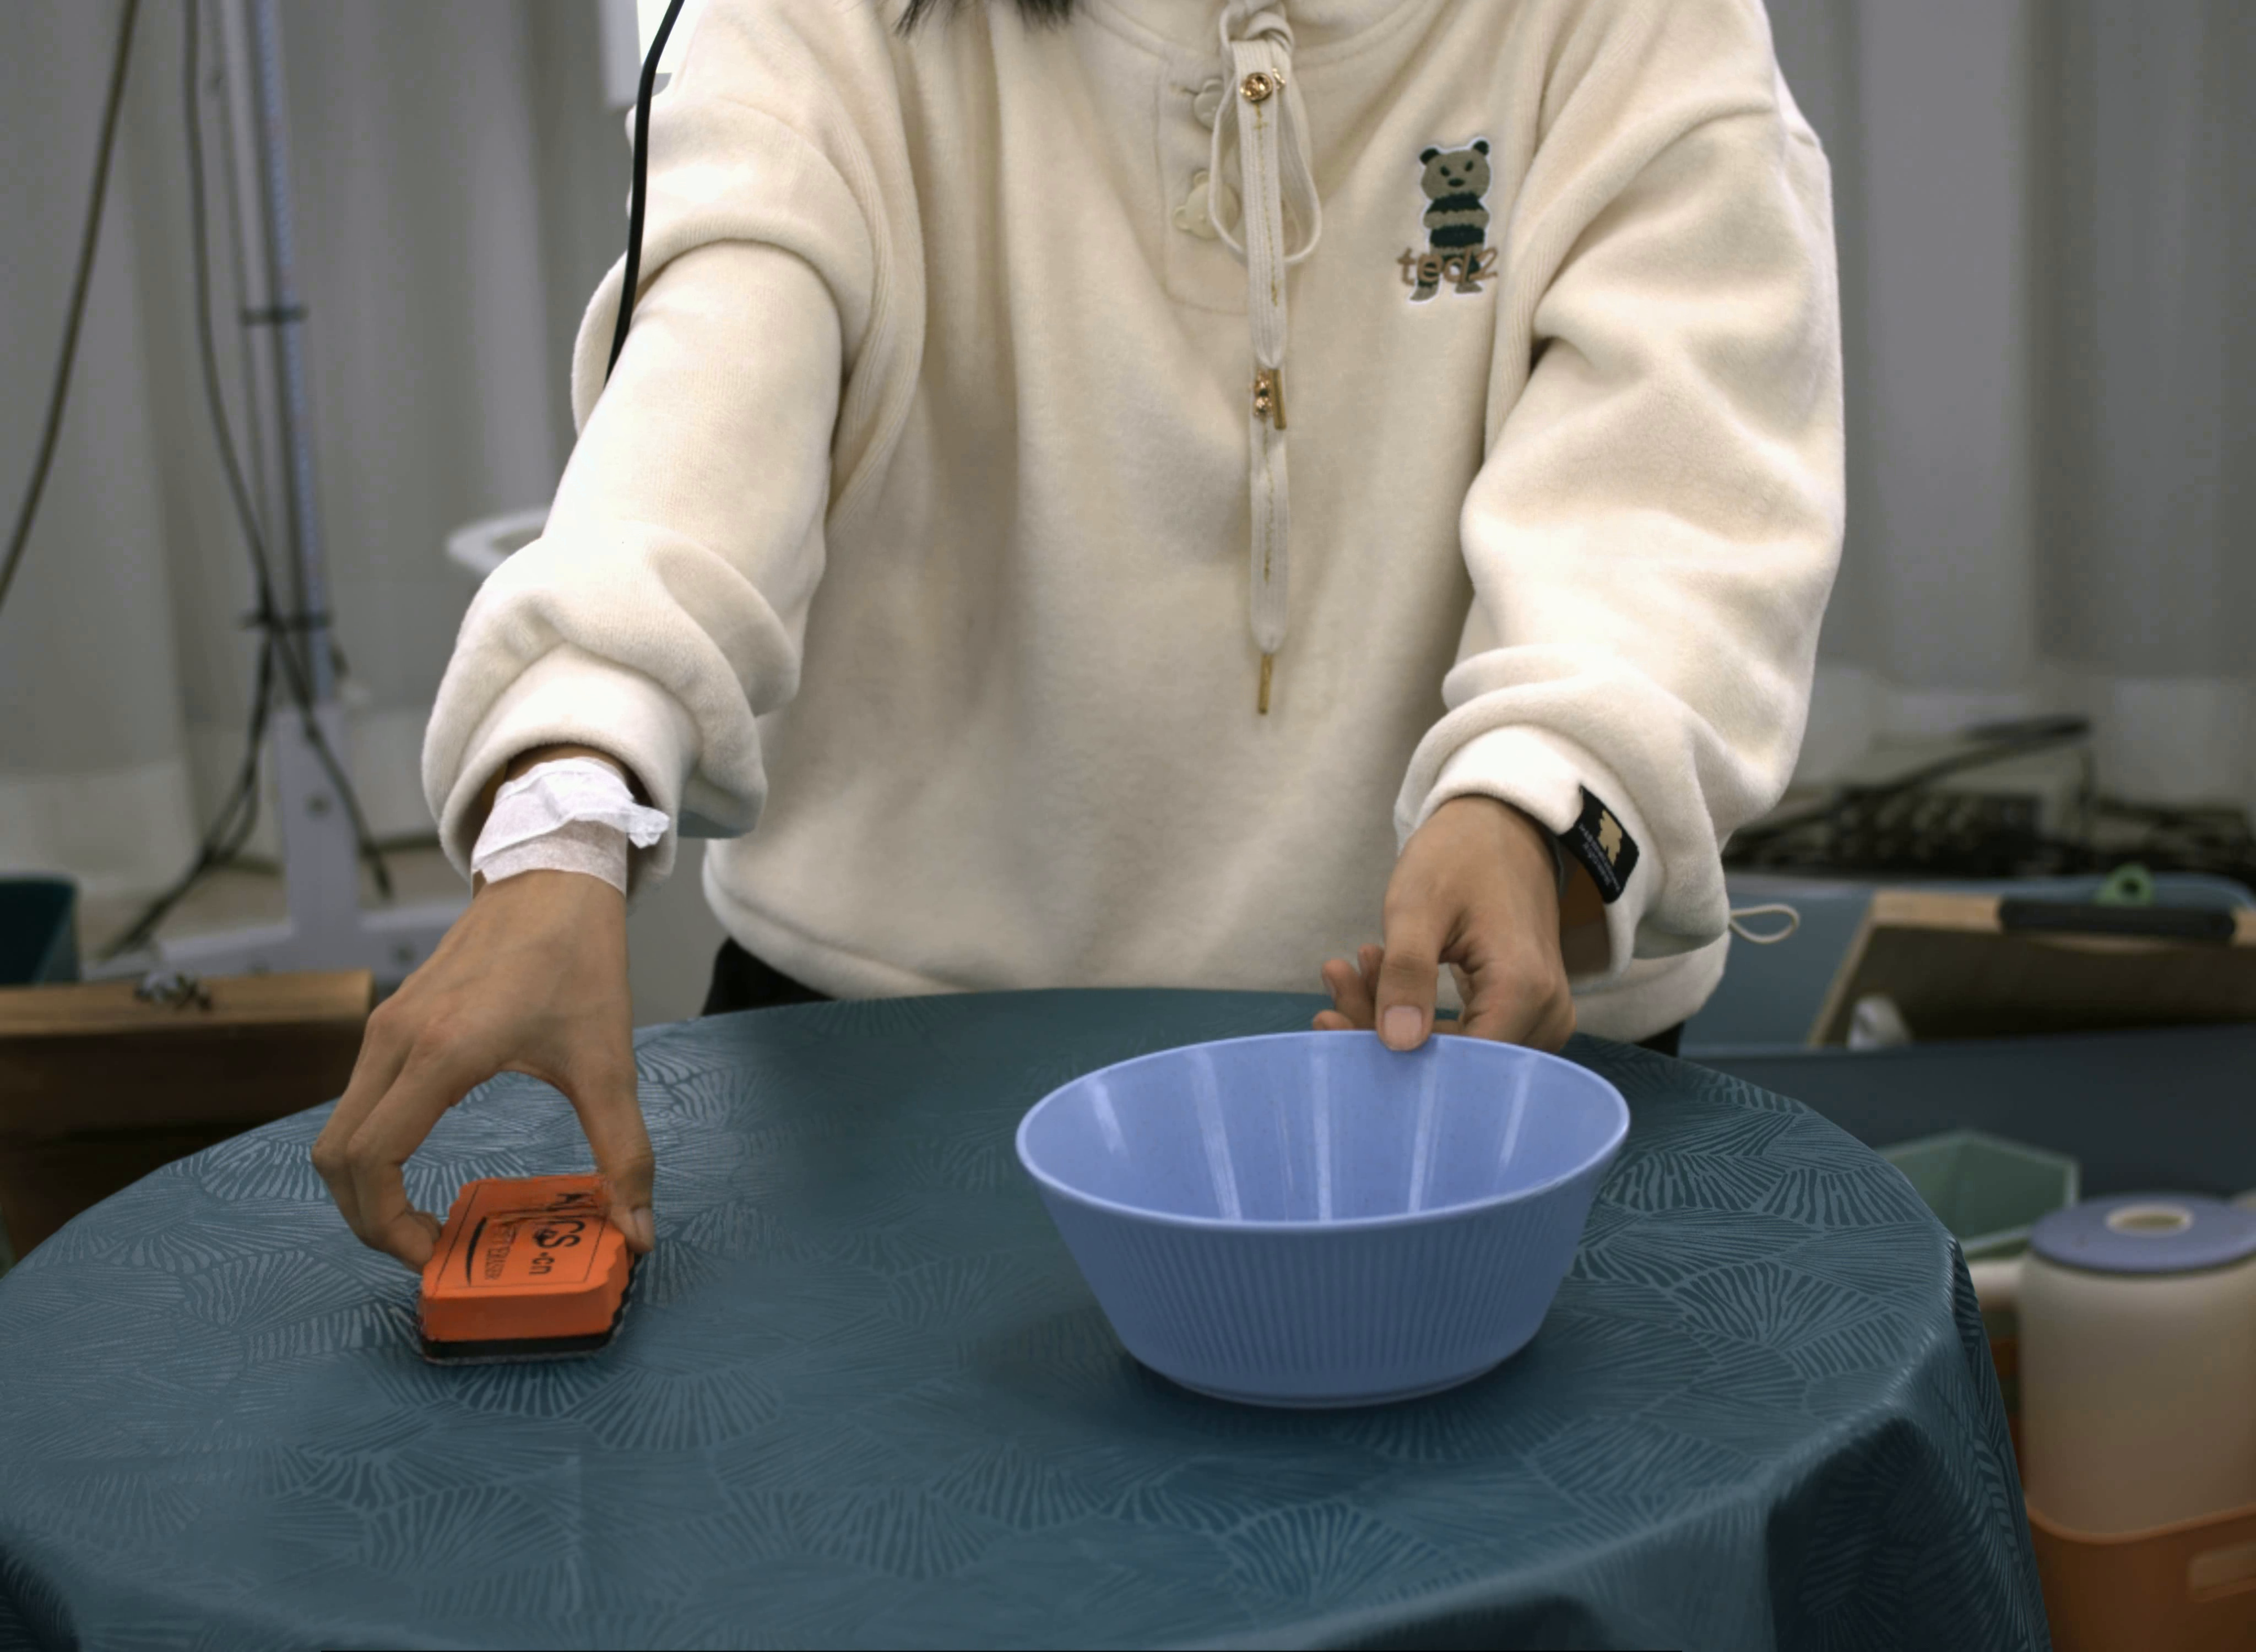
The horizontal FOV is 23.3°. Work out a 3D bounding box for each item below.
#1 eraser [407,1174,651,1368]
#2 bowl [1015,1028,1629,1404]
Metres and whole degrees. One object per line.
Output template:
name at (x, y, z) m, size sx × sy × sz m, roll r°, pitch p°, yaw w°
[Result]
eraser at (-0.178, 0.133, 1.638) m, size 0.059 × 0.023 × 0.109 m, roll -4°, pitch 15°, yaw 5°
bowl at (0.056, 0.114, 1.566) m, size 0.175 × 0.070 × 0.177 m, roll -3°, pitch 15°, yaw 0°
